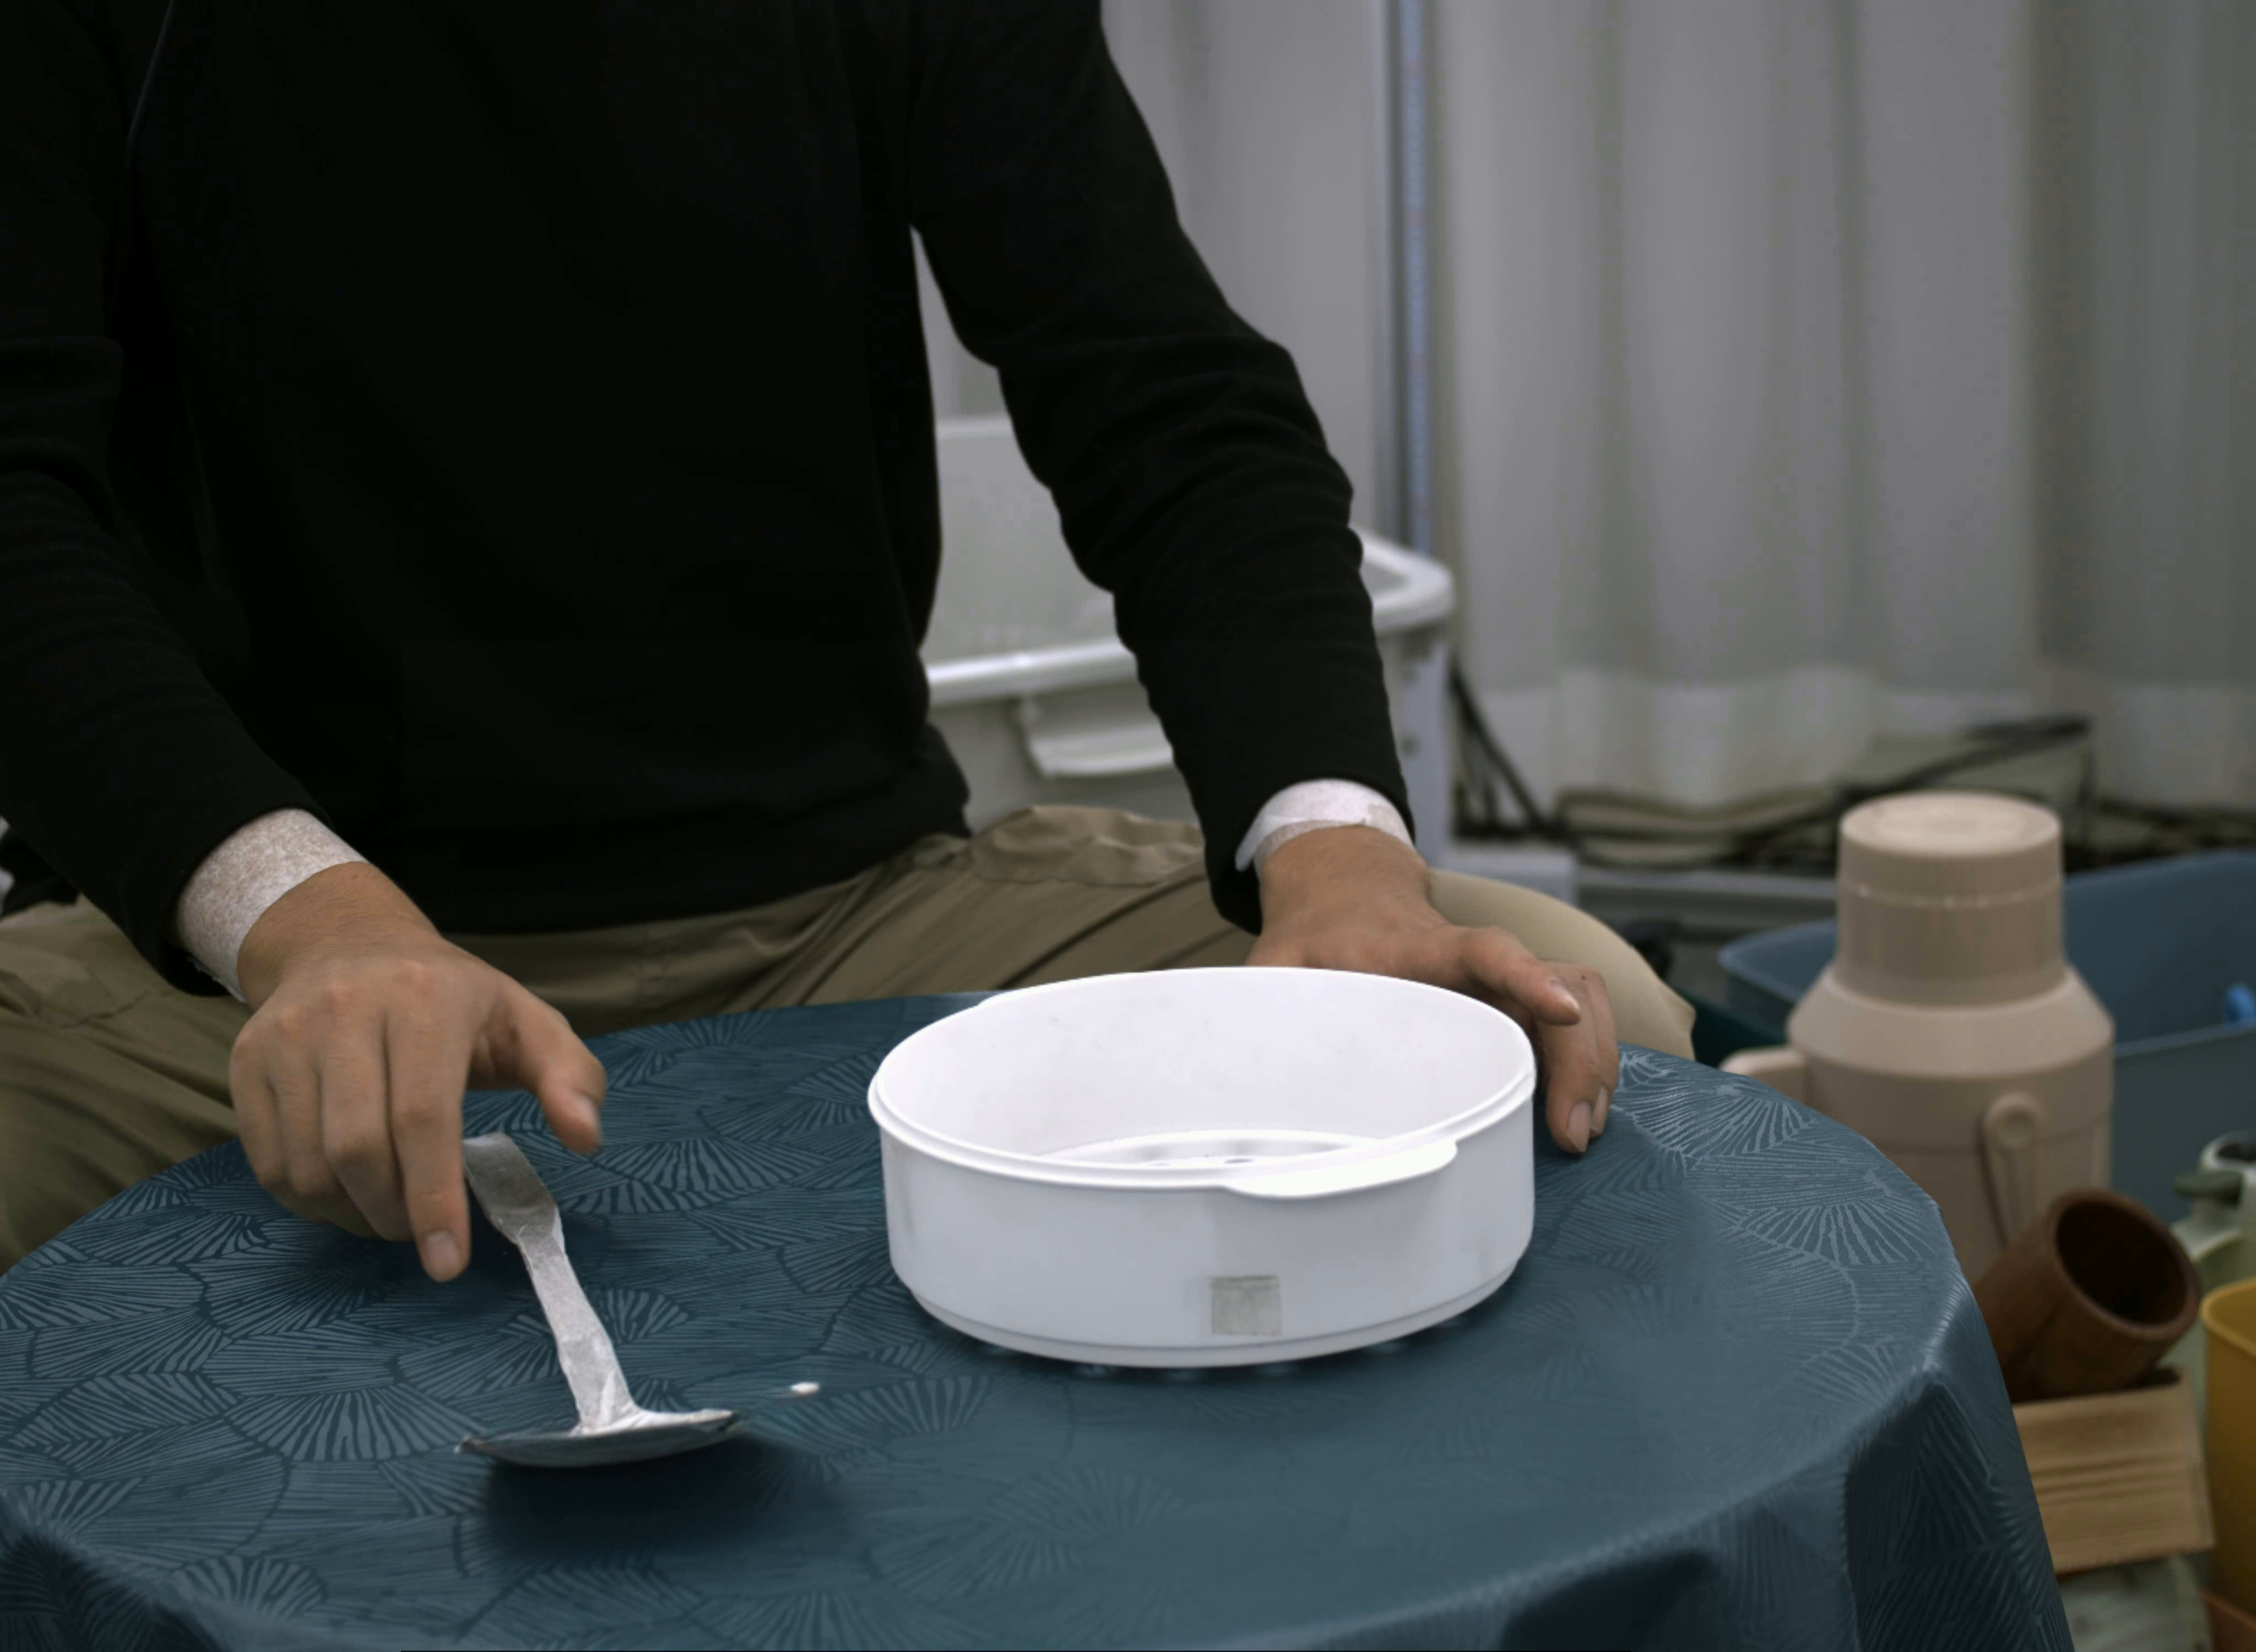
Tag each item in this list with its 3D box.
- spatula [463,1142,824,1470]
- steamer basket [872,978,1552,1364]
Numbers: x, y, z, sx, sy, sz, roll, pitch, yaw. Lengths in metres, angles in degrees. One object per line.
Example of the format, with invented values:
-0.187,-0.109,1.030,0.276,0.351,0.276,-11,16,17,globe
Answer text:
-0.165,0.132,1.609,0.098,0.044,0.368,-9,16,-12,spatula
0.026,0.102,1.623,0.201,0.069,0.232,-8,14,-21,steamer basket
